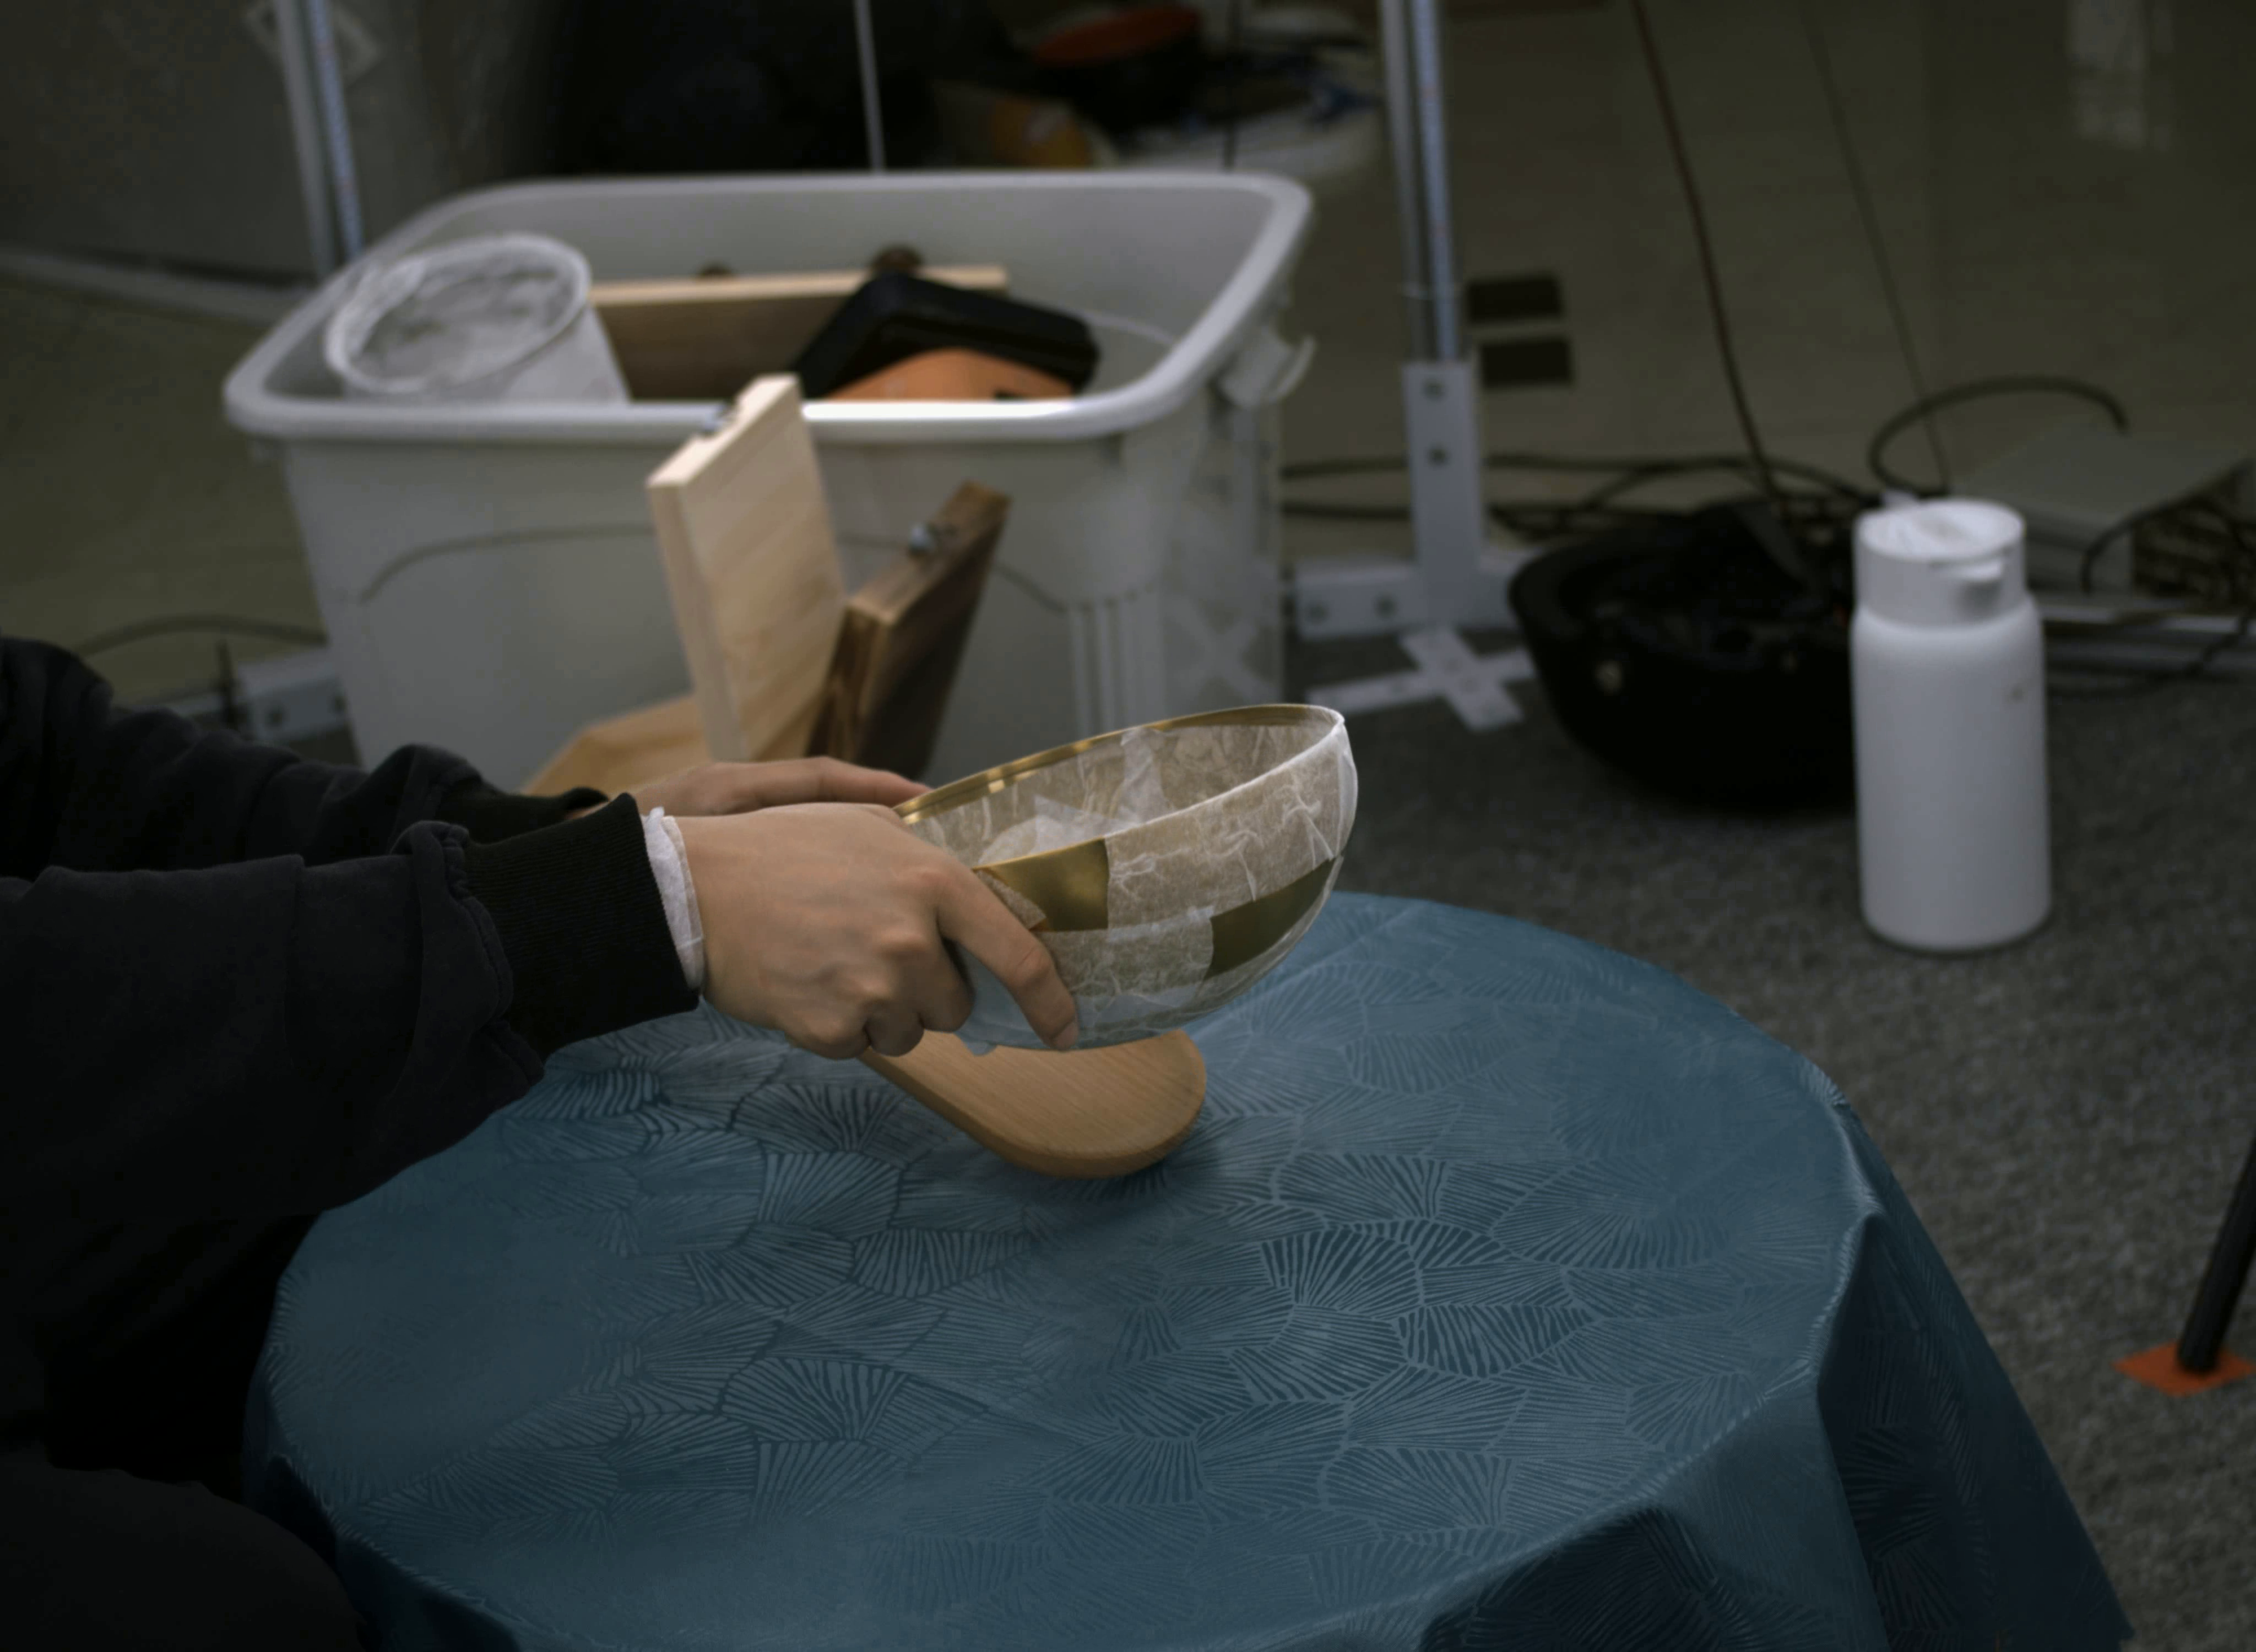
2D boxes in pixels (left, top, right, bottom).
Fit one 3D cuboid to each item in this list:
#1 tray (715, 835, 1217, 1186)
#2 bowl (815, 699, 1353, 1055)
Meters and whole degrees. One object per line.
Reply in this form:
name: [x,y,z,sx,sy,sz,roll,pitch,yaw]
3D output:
tray: [-0.065,0.071,2.218,0.229,0.021,0.100,33,48,26]
bowl: [-0.009,0.029,2.081,0.214,0.095,0.213,-16,12,4]
